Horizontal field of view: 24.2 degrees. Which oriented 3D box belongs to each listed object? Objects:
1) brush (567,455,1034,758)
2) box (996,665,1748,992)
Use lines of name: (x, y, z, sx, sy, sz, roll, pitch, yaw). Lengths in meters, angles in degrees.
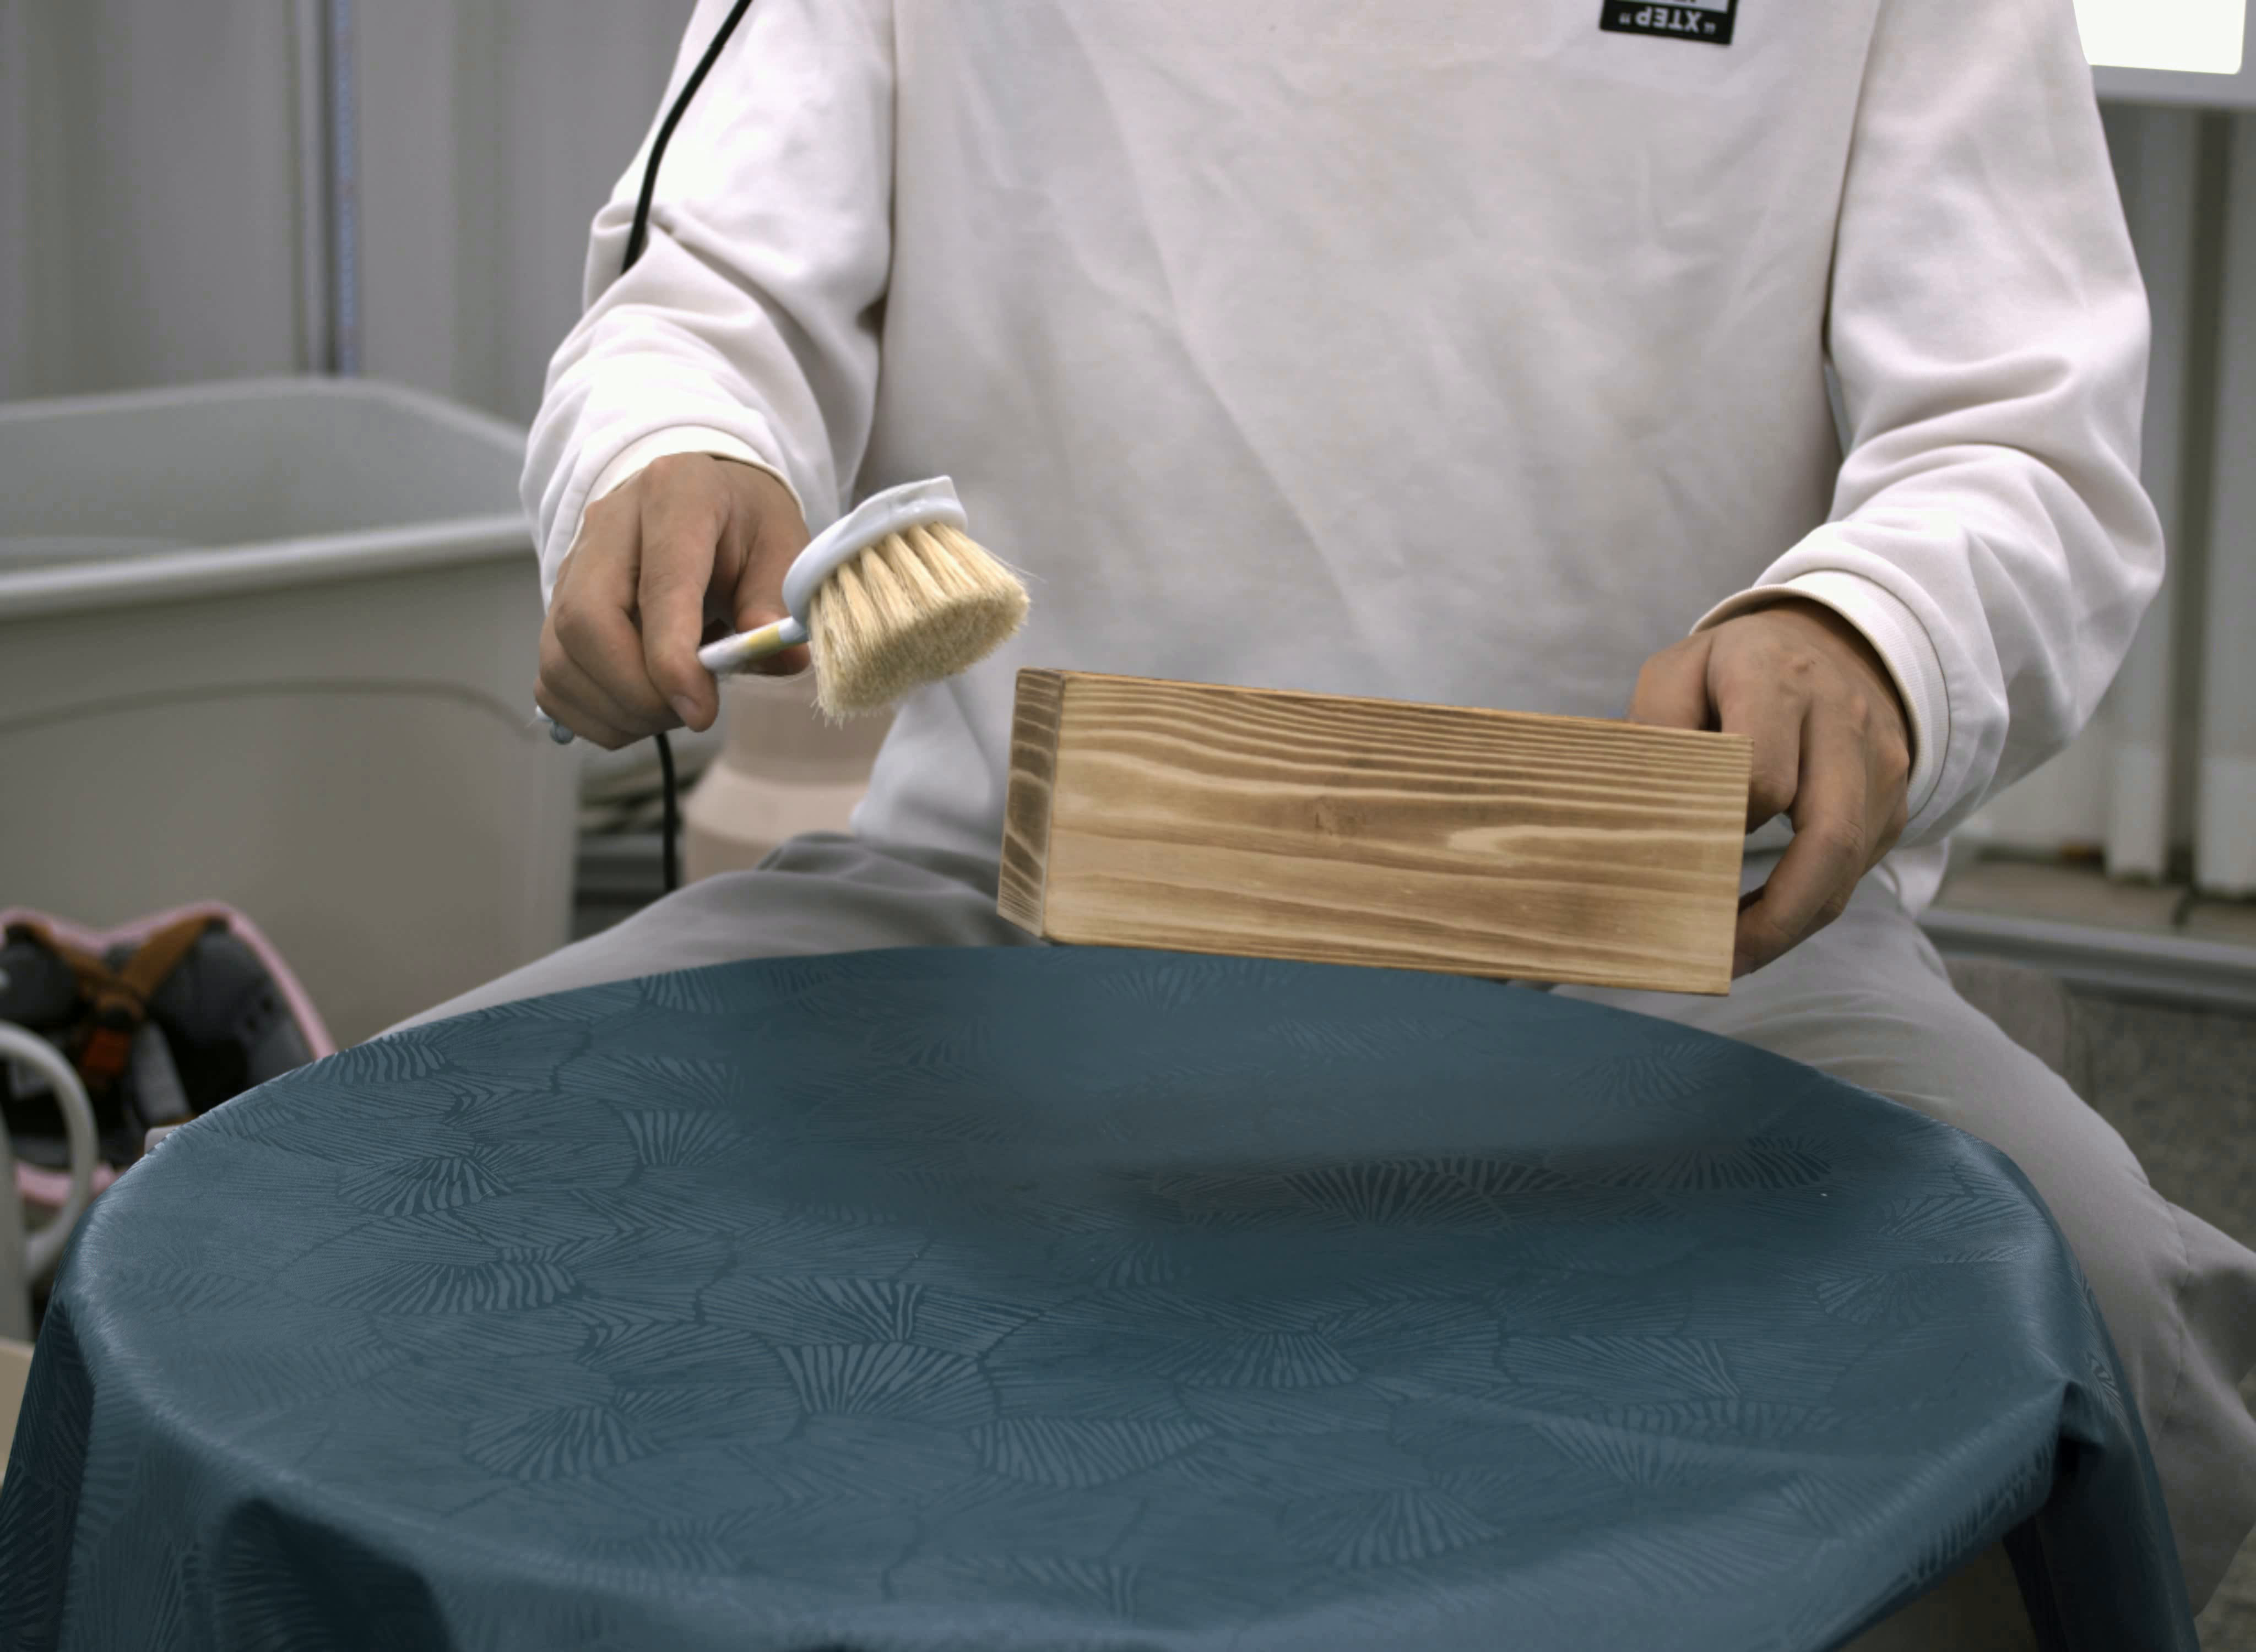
brush: (-0.109, -0.043, 1.615, 0.069, 0.056, 0.266, -6, -15, -30)
box: (0.072, 0.000, 1.616, 0.211, 0.080, 0.107, 5, 1, -10)
